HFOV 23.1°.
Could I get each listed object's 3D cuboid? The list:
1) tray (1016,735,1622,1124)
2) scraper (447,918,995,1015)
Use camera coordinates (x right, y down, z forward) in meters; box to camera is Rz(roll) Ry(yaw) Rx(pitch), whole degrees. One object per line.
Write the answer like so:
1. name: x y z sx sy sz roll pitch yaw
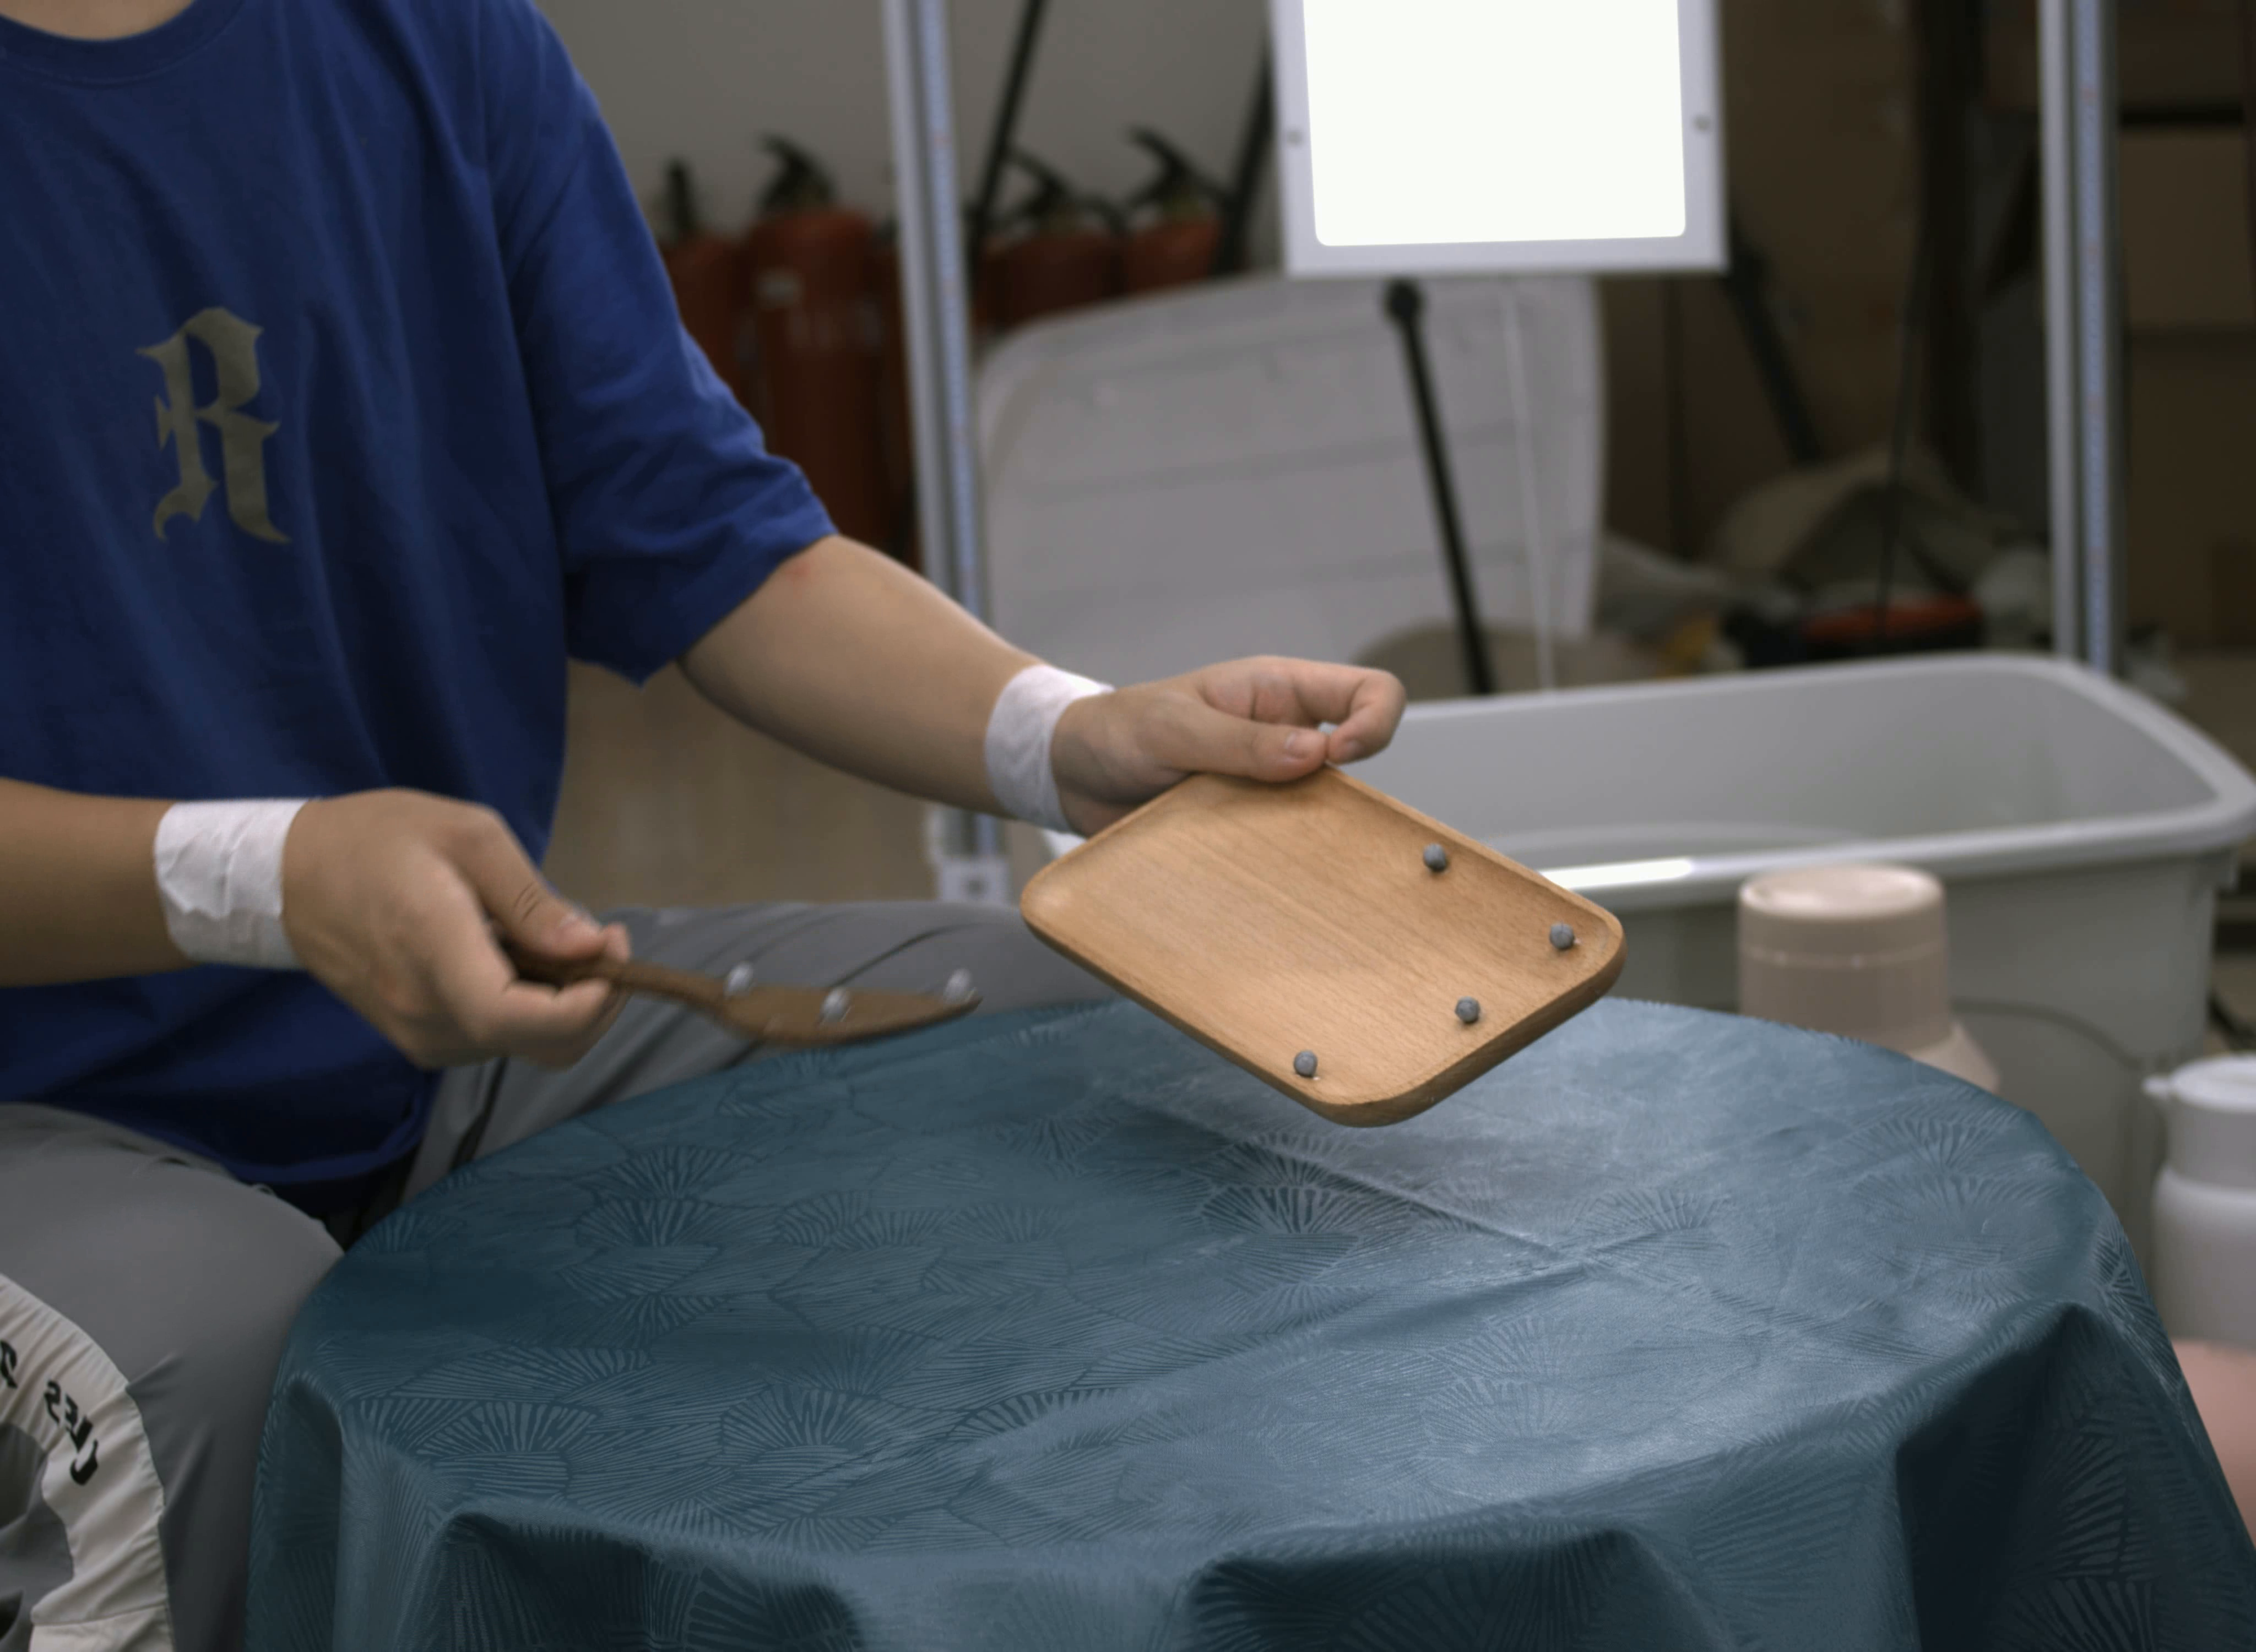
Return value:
1. tray: 0.064 0.034 1.923 0.128 0.023 0.255 -30 29 -18
2. scraper: -0.142 0.046 1.825 0.216 0.011 0.074 7 11 38
